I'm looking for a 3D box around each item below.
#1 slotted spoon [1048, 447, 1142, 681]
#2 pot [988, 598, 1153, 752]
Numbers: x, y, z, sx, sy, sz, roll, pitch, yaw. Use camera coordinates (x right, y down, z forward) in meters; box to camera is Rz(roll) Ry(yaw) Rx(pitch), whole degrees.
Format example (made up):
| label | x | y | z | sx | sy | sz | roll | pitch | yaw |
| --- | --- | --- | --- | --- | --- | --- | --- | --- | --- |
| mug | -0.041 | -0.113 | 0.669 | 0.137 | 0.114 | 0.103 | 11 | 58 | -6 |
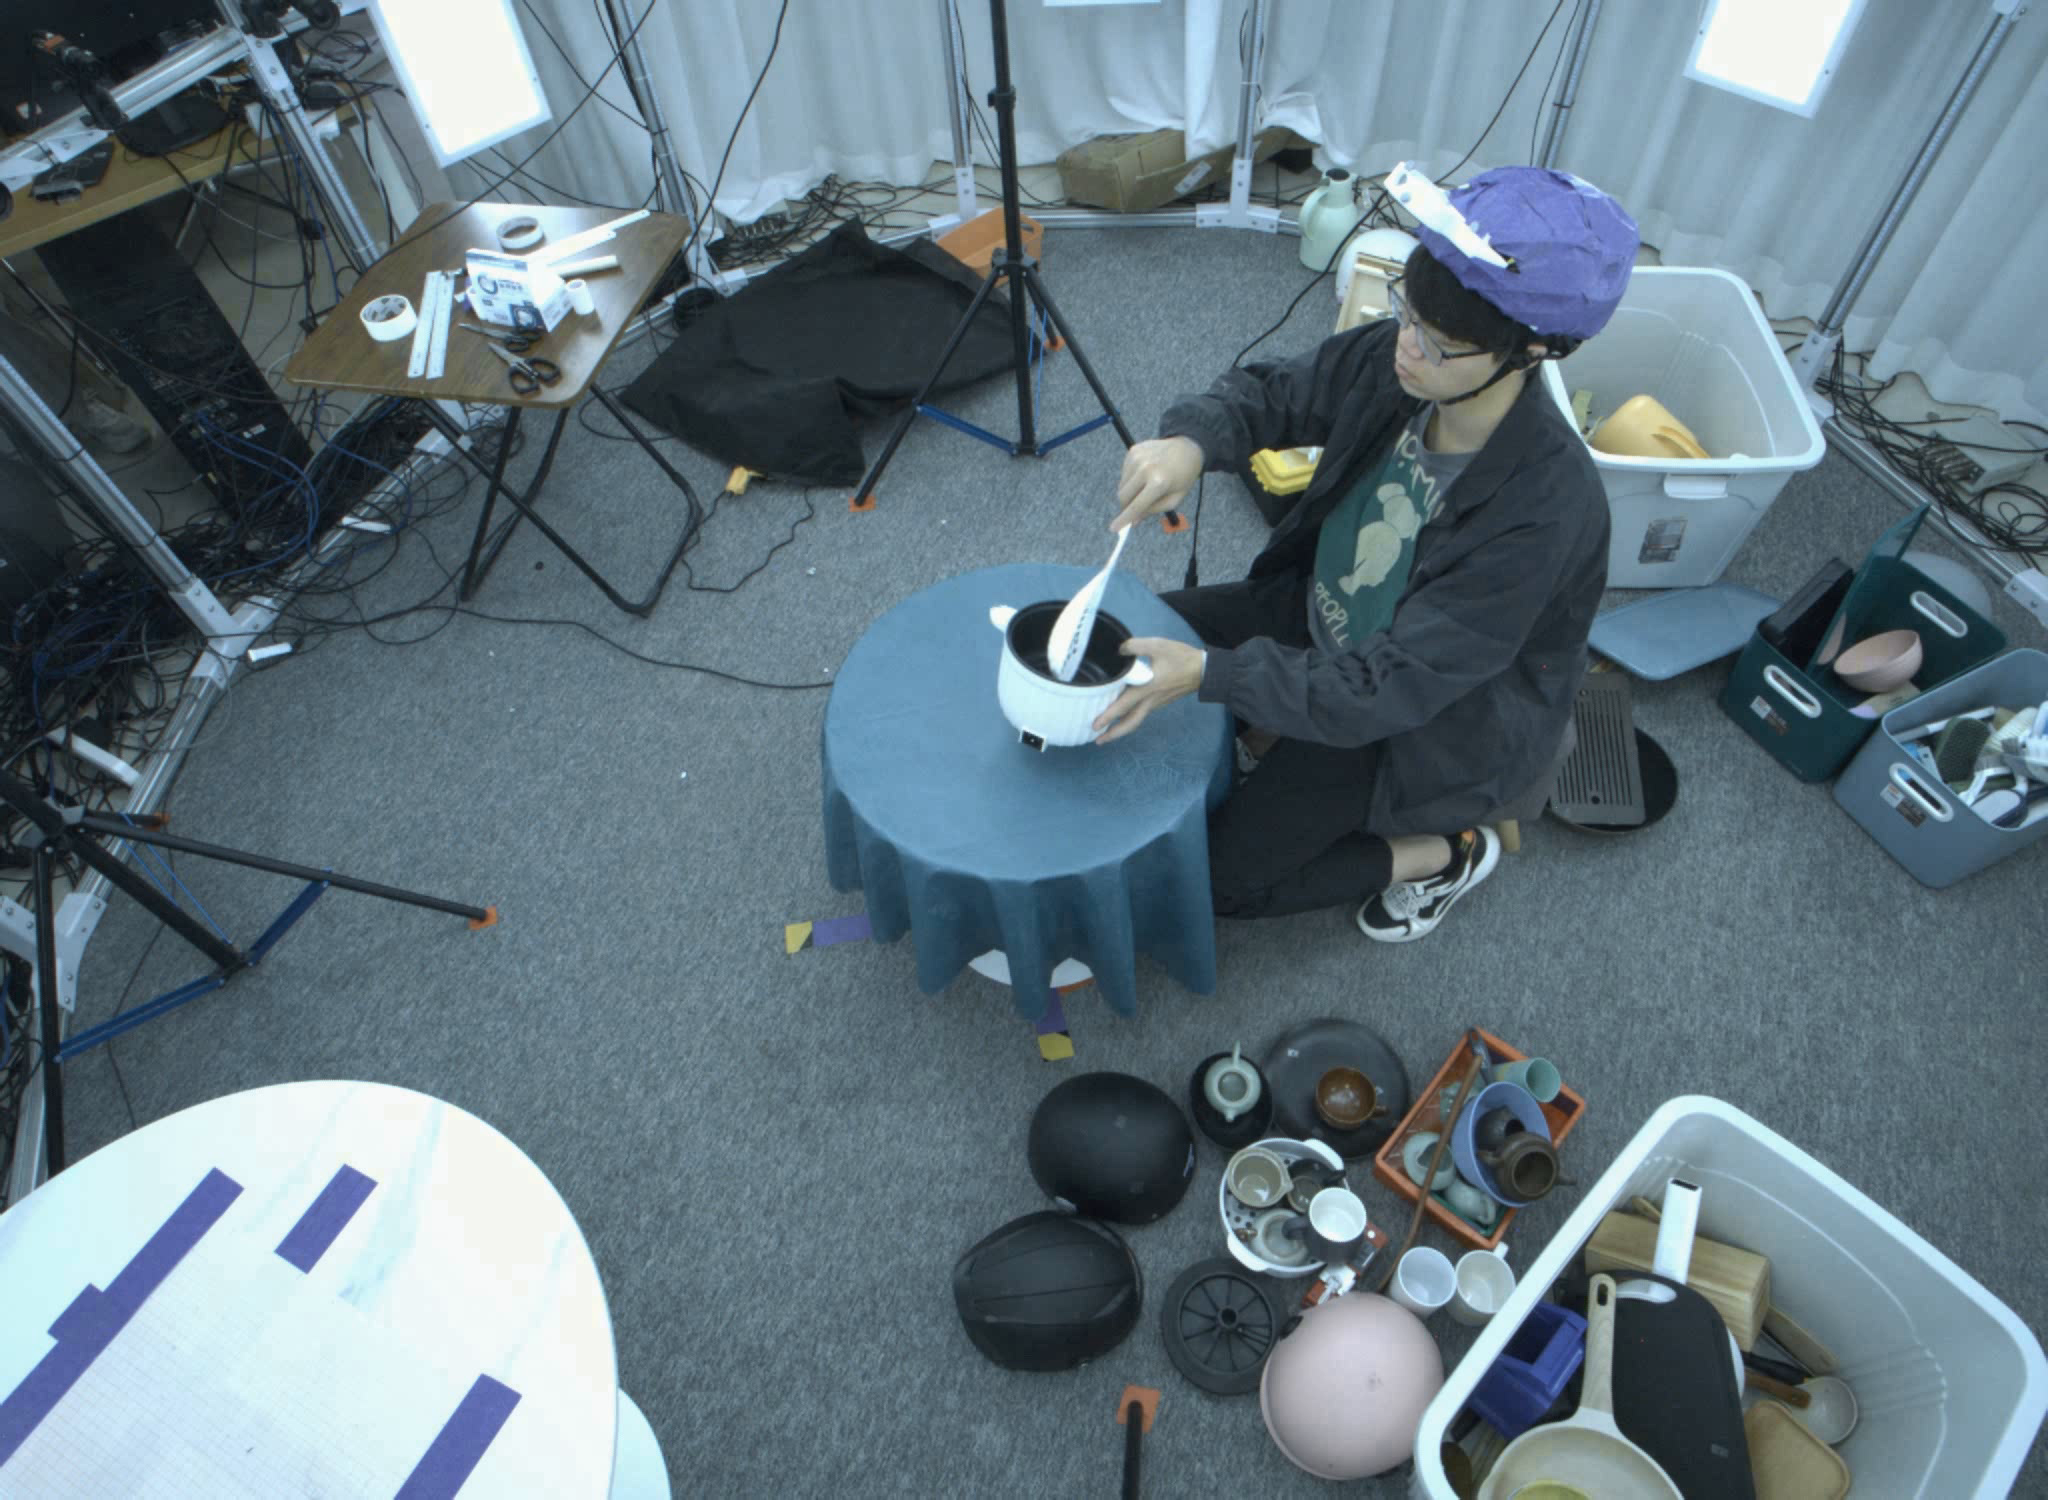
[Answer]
| label | x | y | z | sx | sy | sz | roll | pitch | yaw |
| --- | --- | --- | --- | --- | --- | --- | --- | --- | --- |
| slotted spoon | 0.104 | -0.248 | 1.653 | 0.050 | 0.138 | 0.348 | 25 | 84 | 11 |
| pot | 0.054 | -0.104 | 1.701 | 0.239 | 0.143 | 0.191 | 24 | 49 | 9 |
